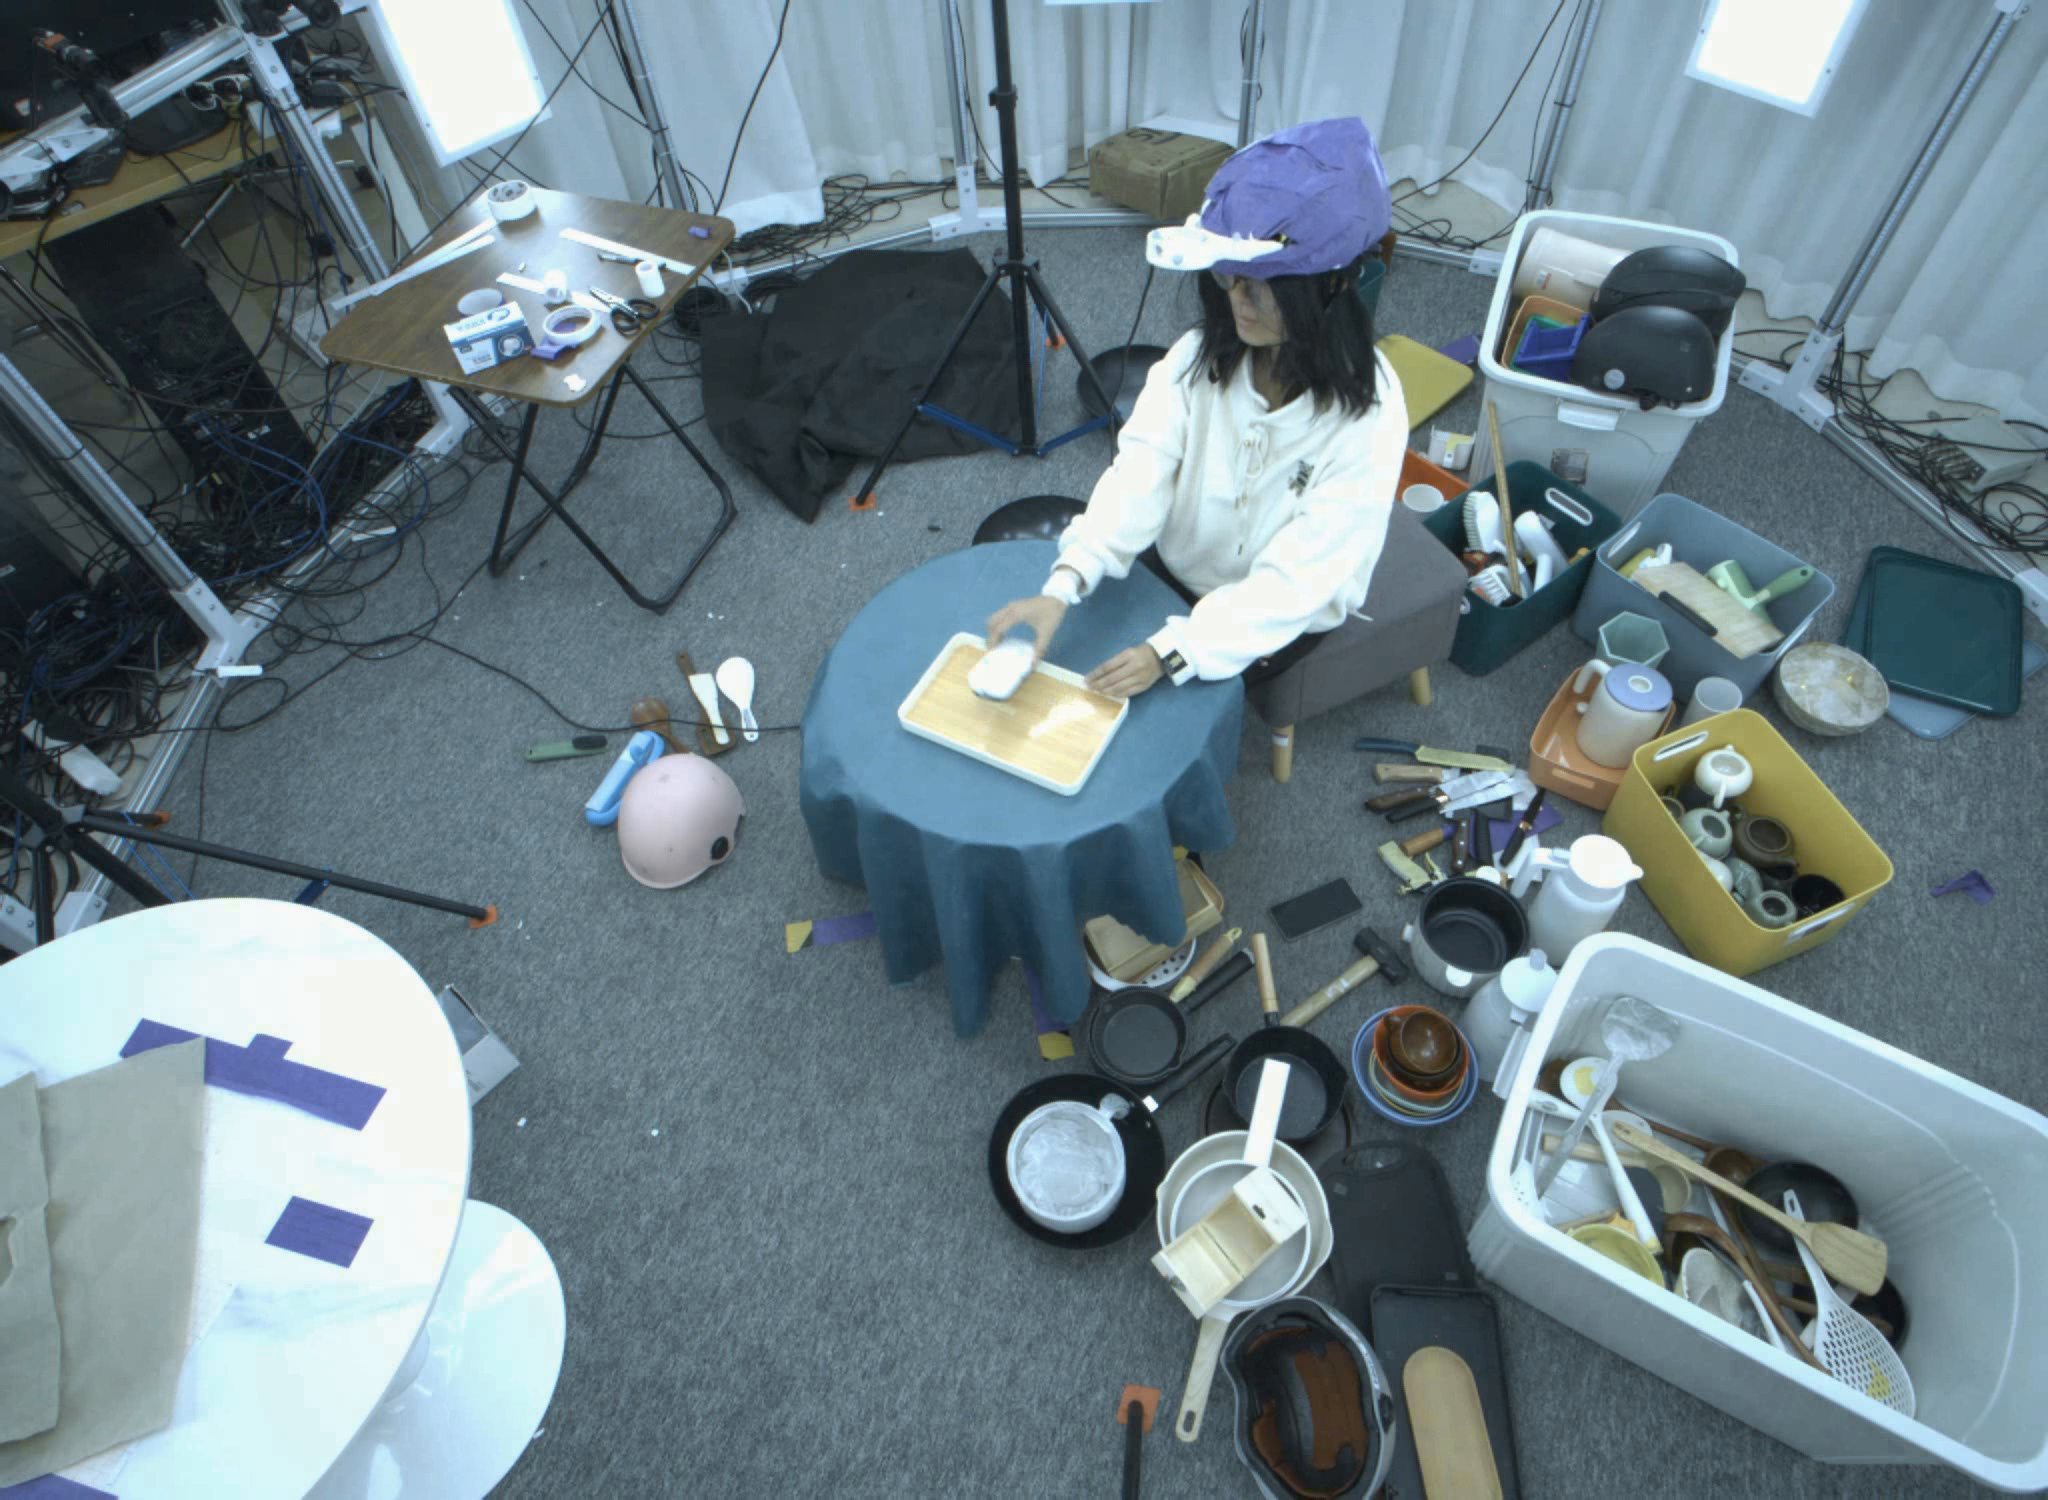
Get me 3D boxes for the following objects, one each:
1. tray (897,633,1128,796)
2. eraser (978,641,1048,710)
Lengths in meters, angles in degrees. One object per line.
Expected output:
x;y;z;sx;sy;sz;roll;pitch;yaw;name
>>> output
-0.017;-0.057;1.812;0.296;0.028;0.192;23;59;17;tray
-0.014;-0.111;1.780;0.062;0.035;0.132;16;45;21;eraser
